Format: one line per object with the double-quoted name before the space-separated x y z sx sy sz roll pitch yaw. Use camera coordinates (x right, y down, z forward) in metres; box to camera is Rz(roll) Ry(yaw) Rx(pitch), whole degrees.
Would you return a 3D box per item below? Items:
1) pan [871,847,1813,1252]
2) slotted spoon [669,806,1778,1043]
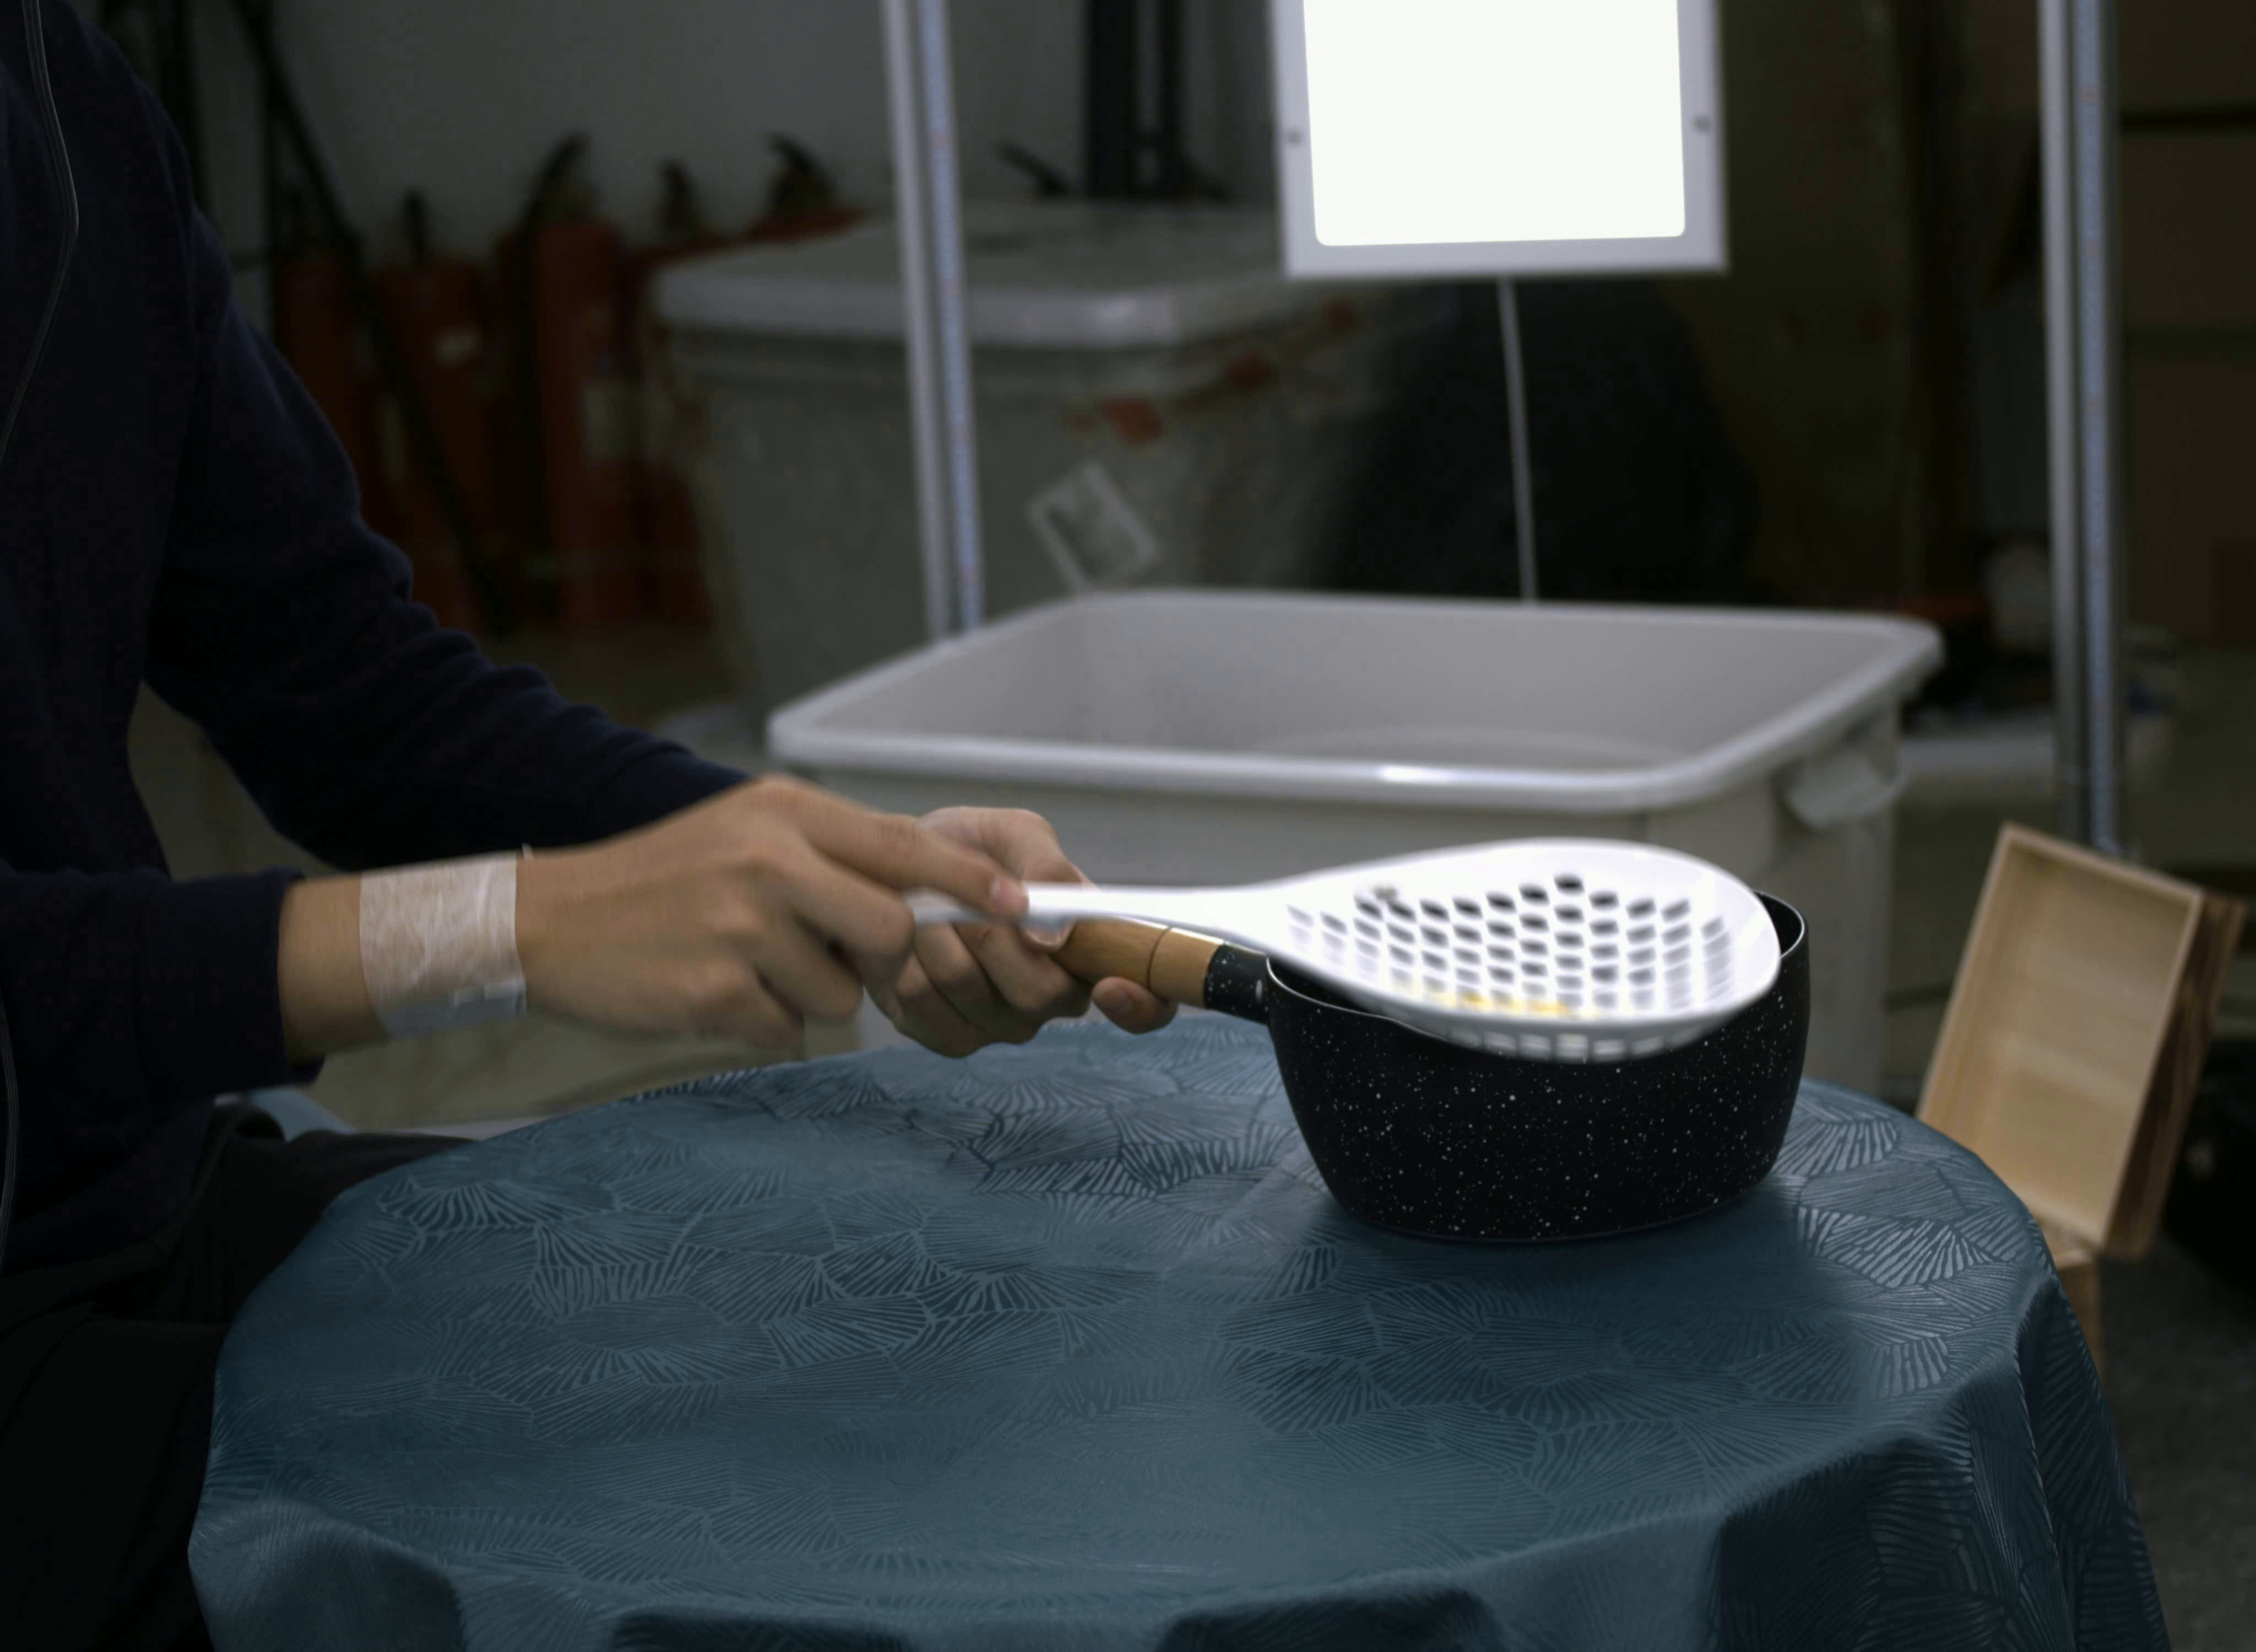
"pan" 0.068 0.067 1.890 0.348 0.108 0.203 2 17 25
"slotted spoon" 0.030 0.031 1.735 0.347 0.050 0.136 6 26 1
